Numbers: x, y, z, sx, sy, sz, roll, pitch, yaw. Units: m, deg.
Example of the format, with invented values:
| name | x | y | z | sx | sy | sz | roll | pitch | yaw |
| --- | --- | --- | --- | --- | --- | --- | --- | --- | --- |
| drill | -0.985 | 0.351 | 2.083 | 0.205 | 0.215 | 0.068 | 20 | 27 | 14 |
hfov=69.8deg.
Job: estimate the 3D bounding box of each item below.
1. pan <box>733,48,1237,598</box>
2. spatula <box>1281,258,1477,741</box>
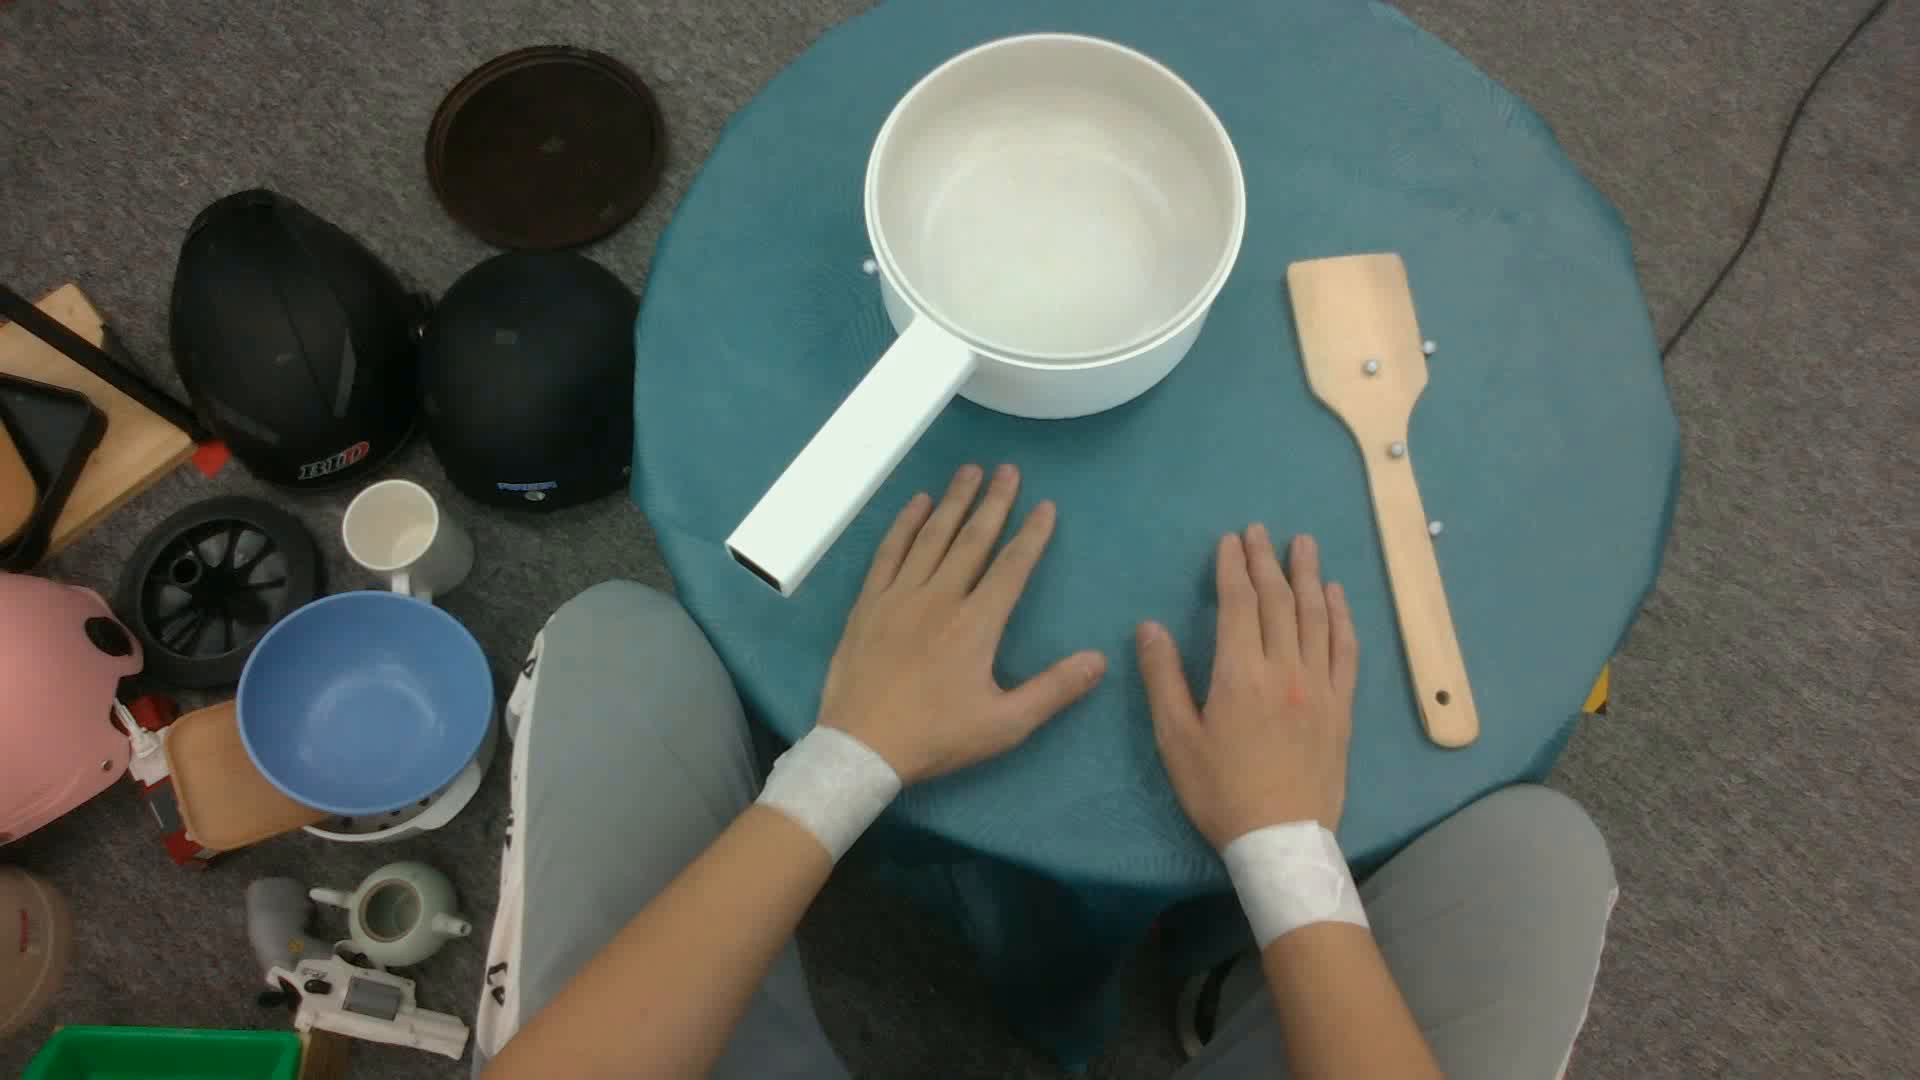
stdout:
| name | x | y | z | sx | sy | sz | roll | pitch | yaw |
| --- | --- | --- | --- | --- | --- | --- | --- | --- | --- |
| pan | 0.005 | -0.108 | 0.765 | 0.201 | 0.102 | 0.356 | 34 | 74 | 9 |
| spatula | 0.246 | -0.030 | 0.783 | 0.072 | 0.010 | 0.294 | -7 | 70 | -3 |
